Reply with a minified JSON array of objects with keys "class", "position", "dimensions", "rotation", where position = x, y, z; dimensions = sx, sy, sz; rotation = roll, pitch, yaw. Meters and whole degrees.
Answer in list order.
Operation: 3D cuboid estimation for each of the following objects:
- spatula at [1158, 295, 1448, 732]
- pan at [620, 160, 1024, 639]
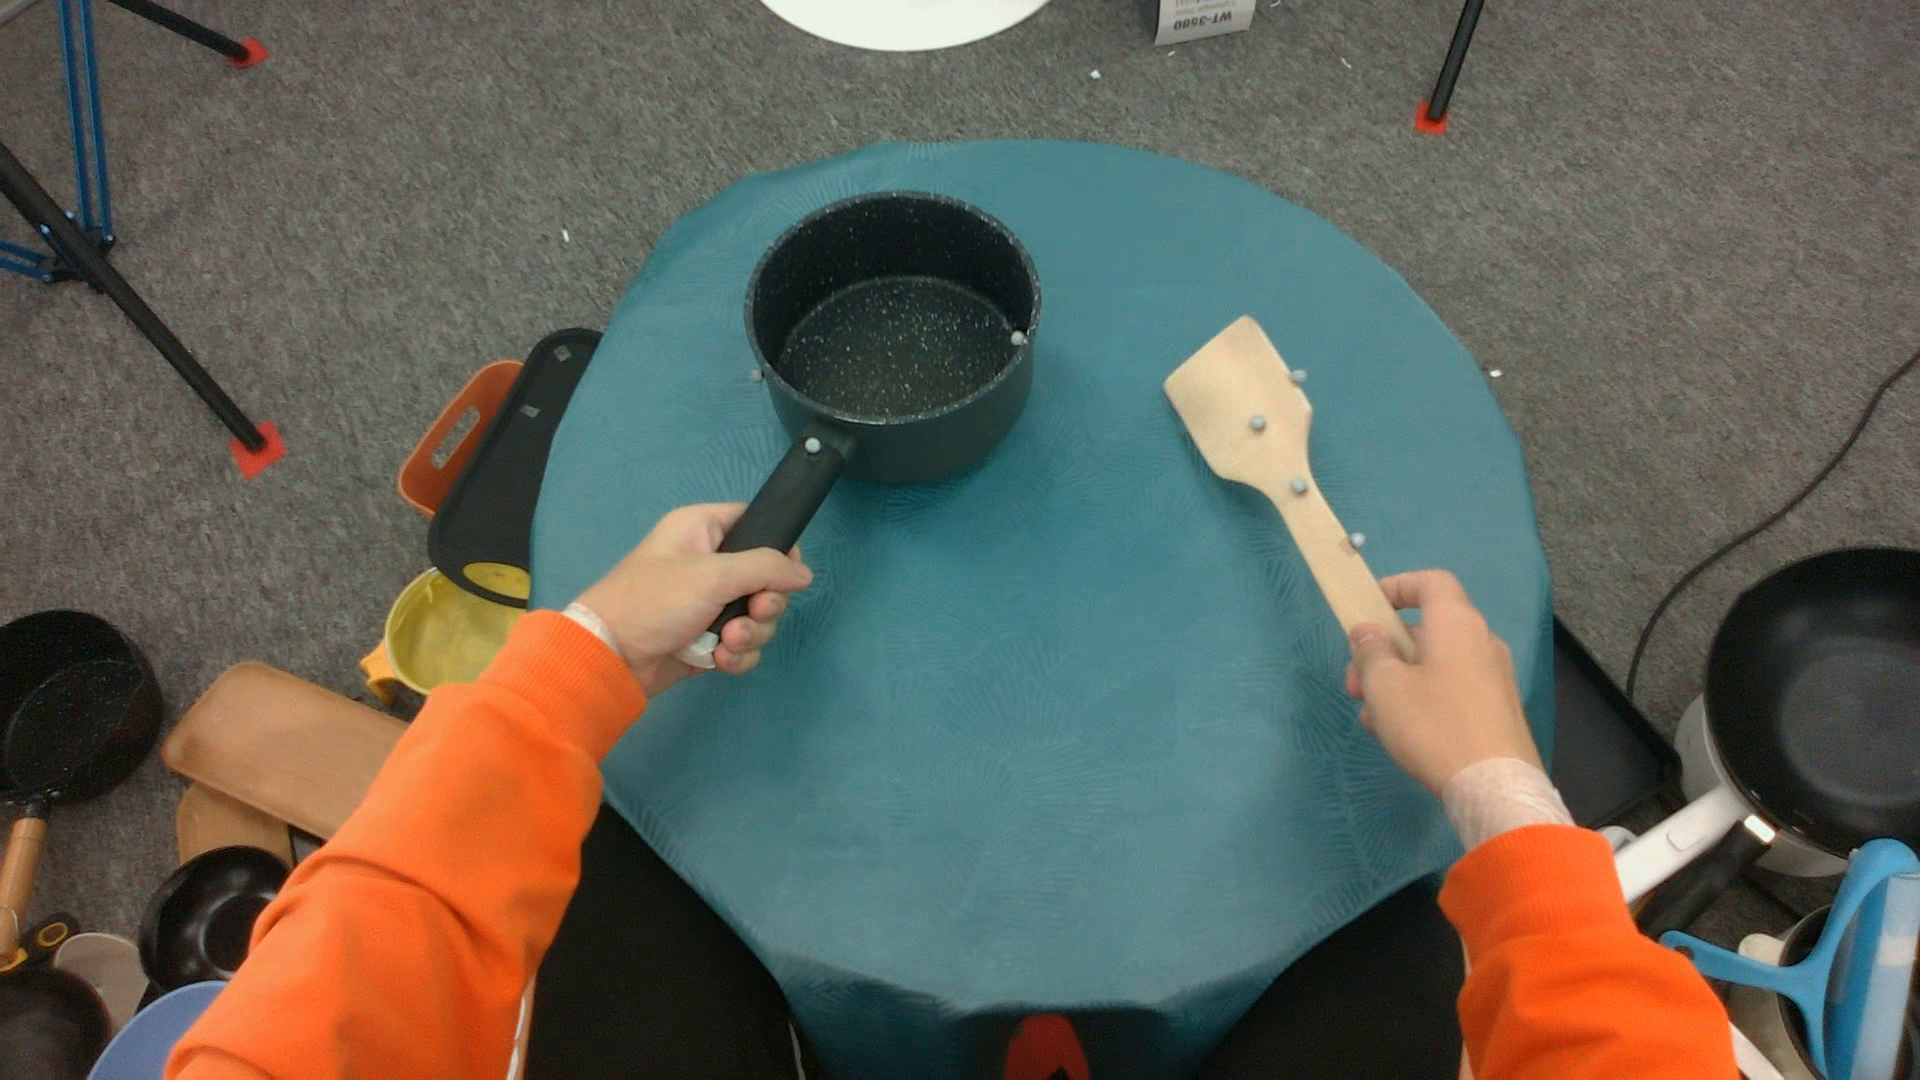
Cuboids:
[{"class":"spatula","position":[0.190,-0.021,0.760],"dimensions":[0.072,0.010,0.294],"rotation":[-36,51,20]},{"class":"pan","position":[-0.082,-0.071,0.775],"dimensions":[0.172,0.086,0.330],"rotation":[21,63,14]}]
